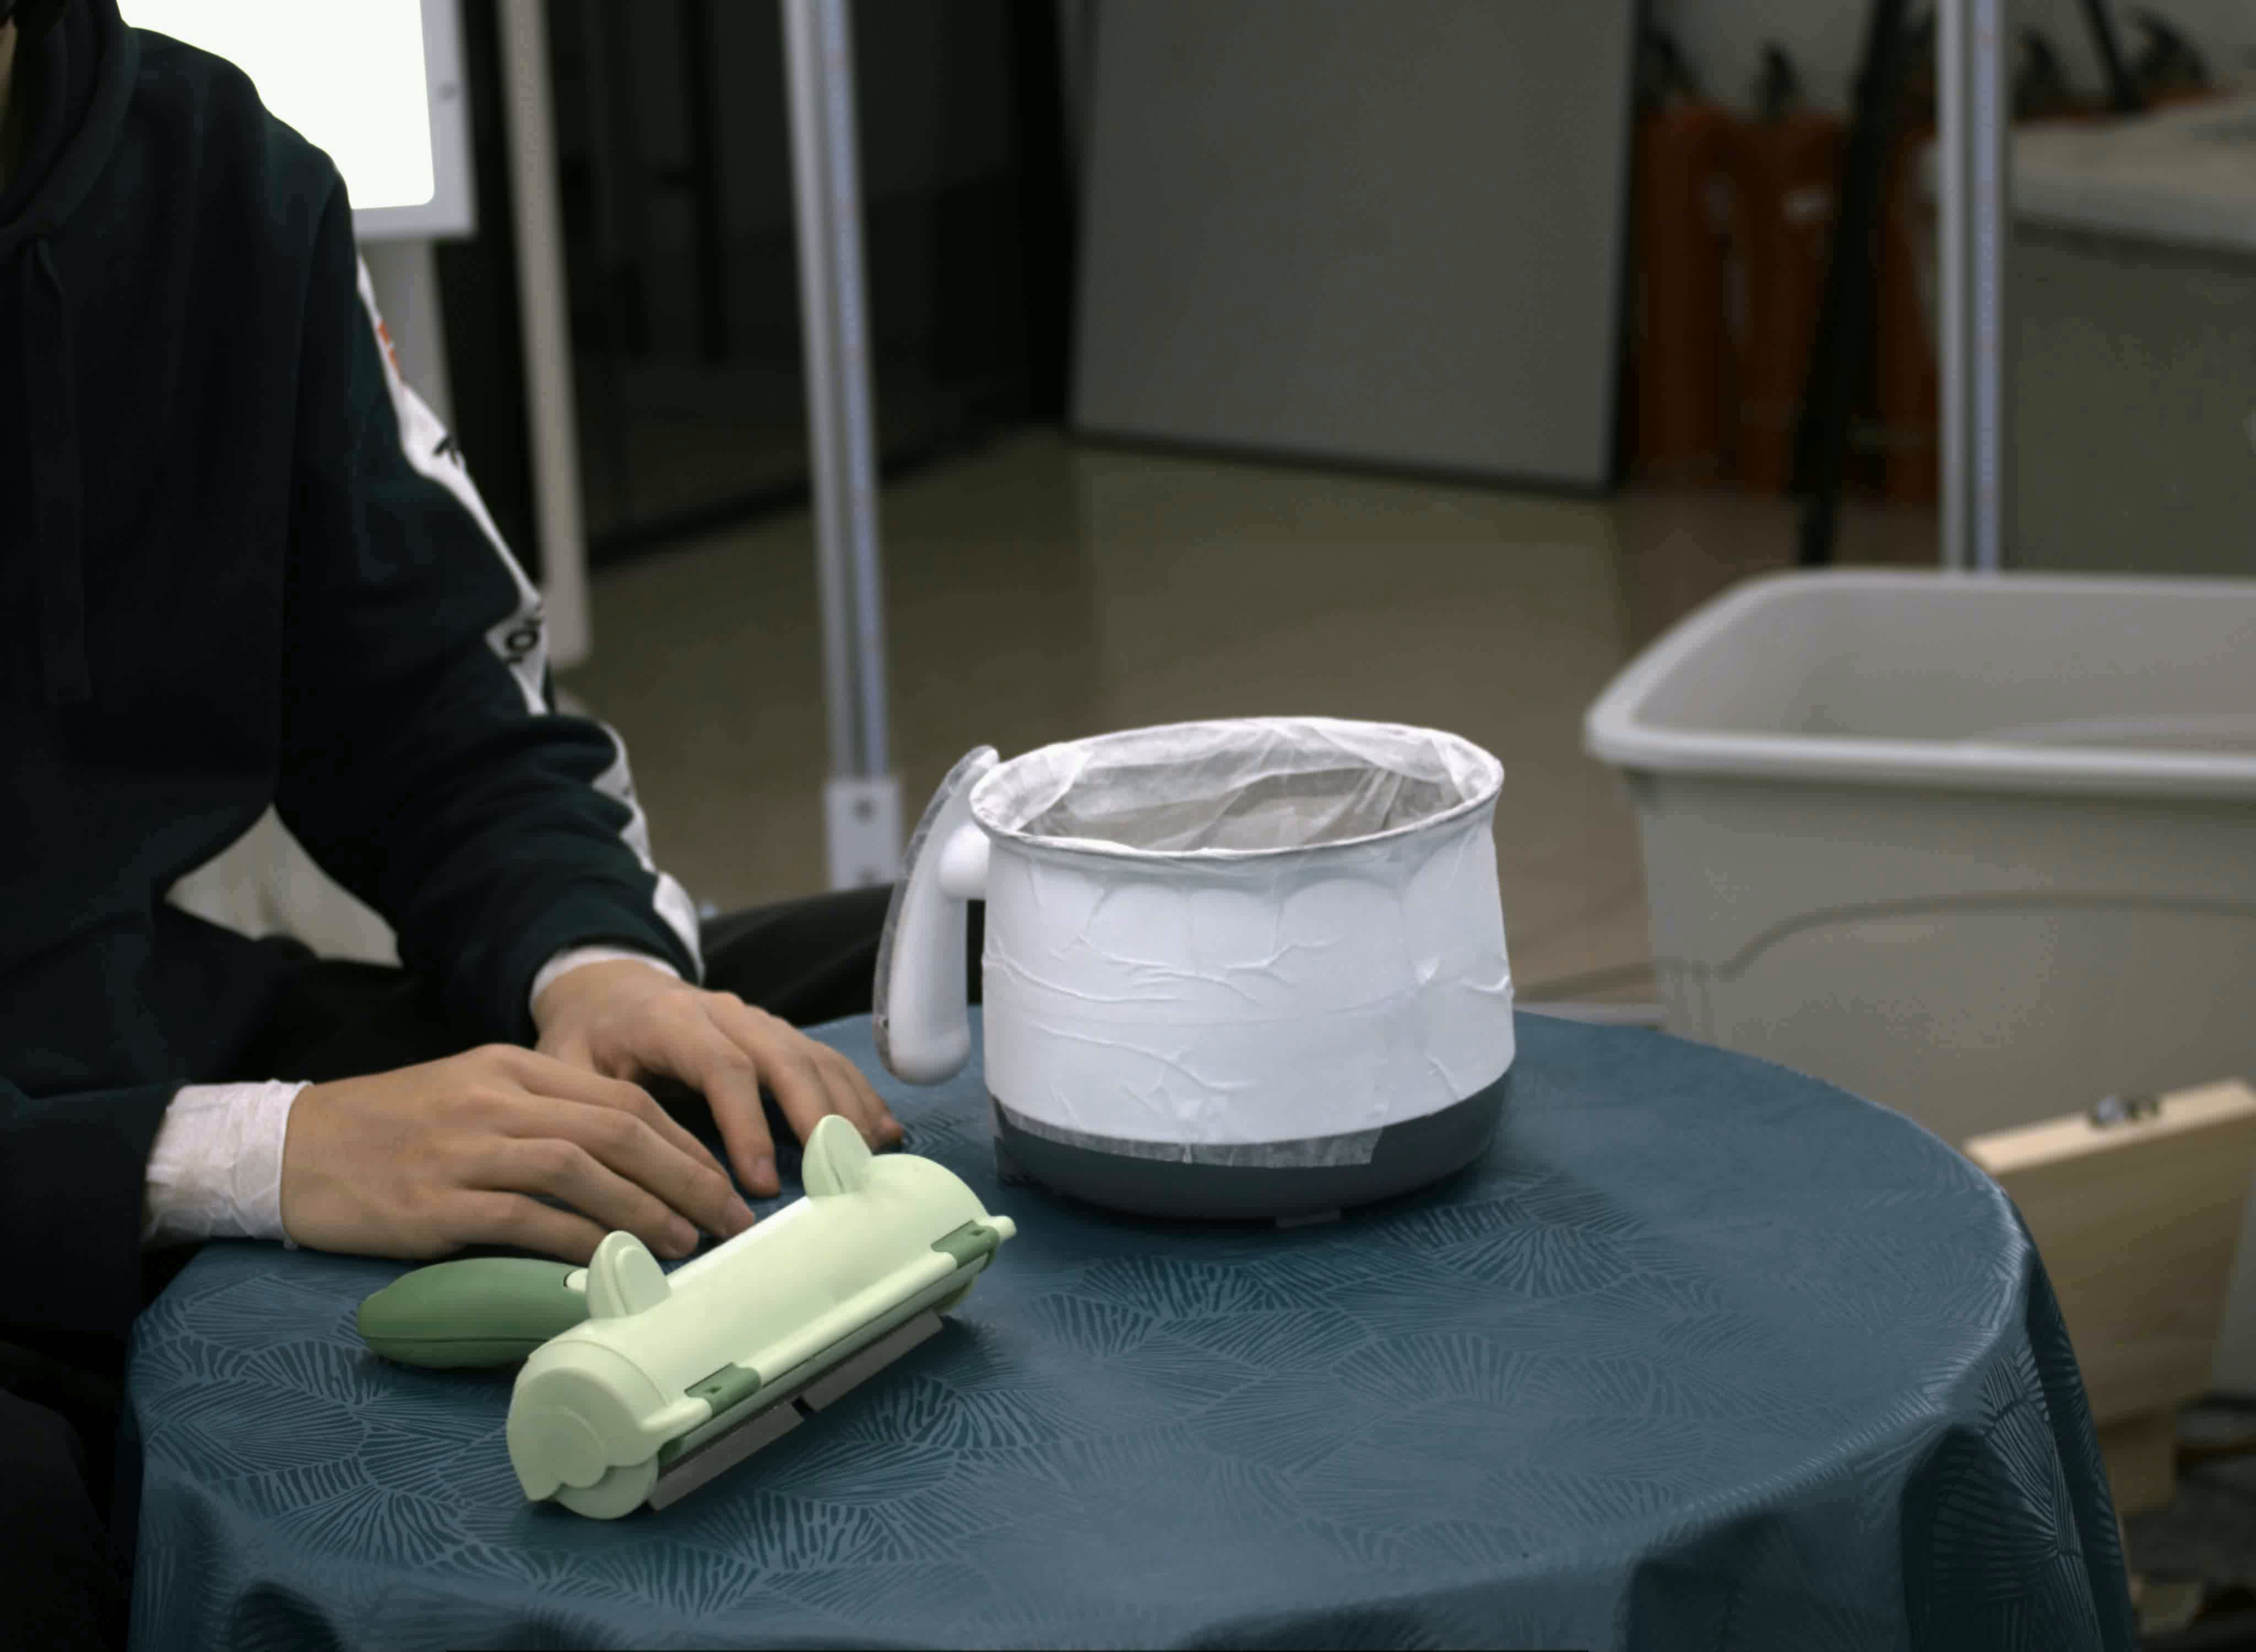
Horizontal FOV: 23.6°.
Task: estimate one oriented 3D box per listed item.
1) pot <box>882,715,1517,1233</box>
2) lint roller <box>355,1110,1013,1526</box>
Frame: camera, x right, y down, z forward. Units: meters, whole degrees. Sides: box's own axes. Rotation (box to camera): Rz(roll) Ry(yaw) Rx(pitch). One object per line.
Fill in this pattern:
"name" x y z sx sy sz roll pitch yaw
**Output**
"pot" 0.016 0.045 1.789 0.235 0.138 0.176 5 16 32
"lint roller" -0.156 0.133 1.611 0.184 0.083 0.195 10 19 29
